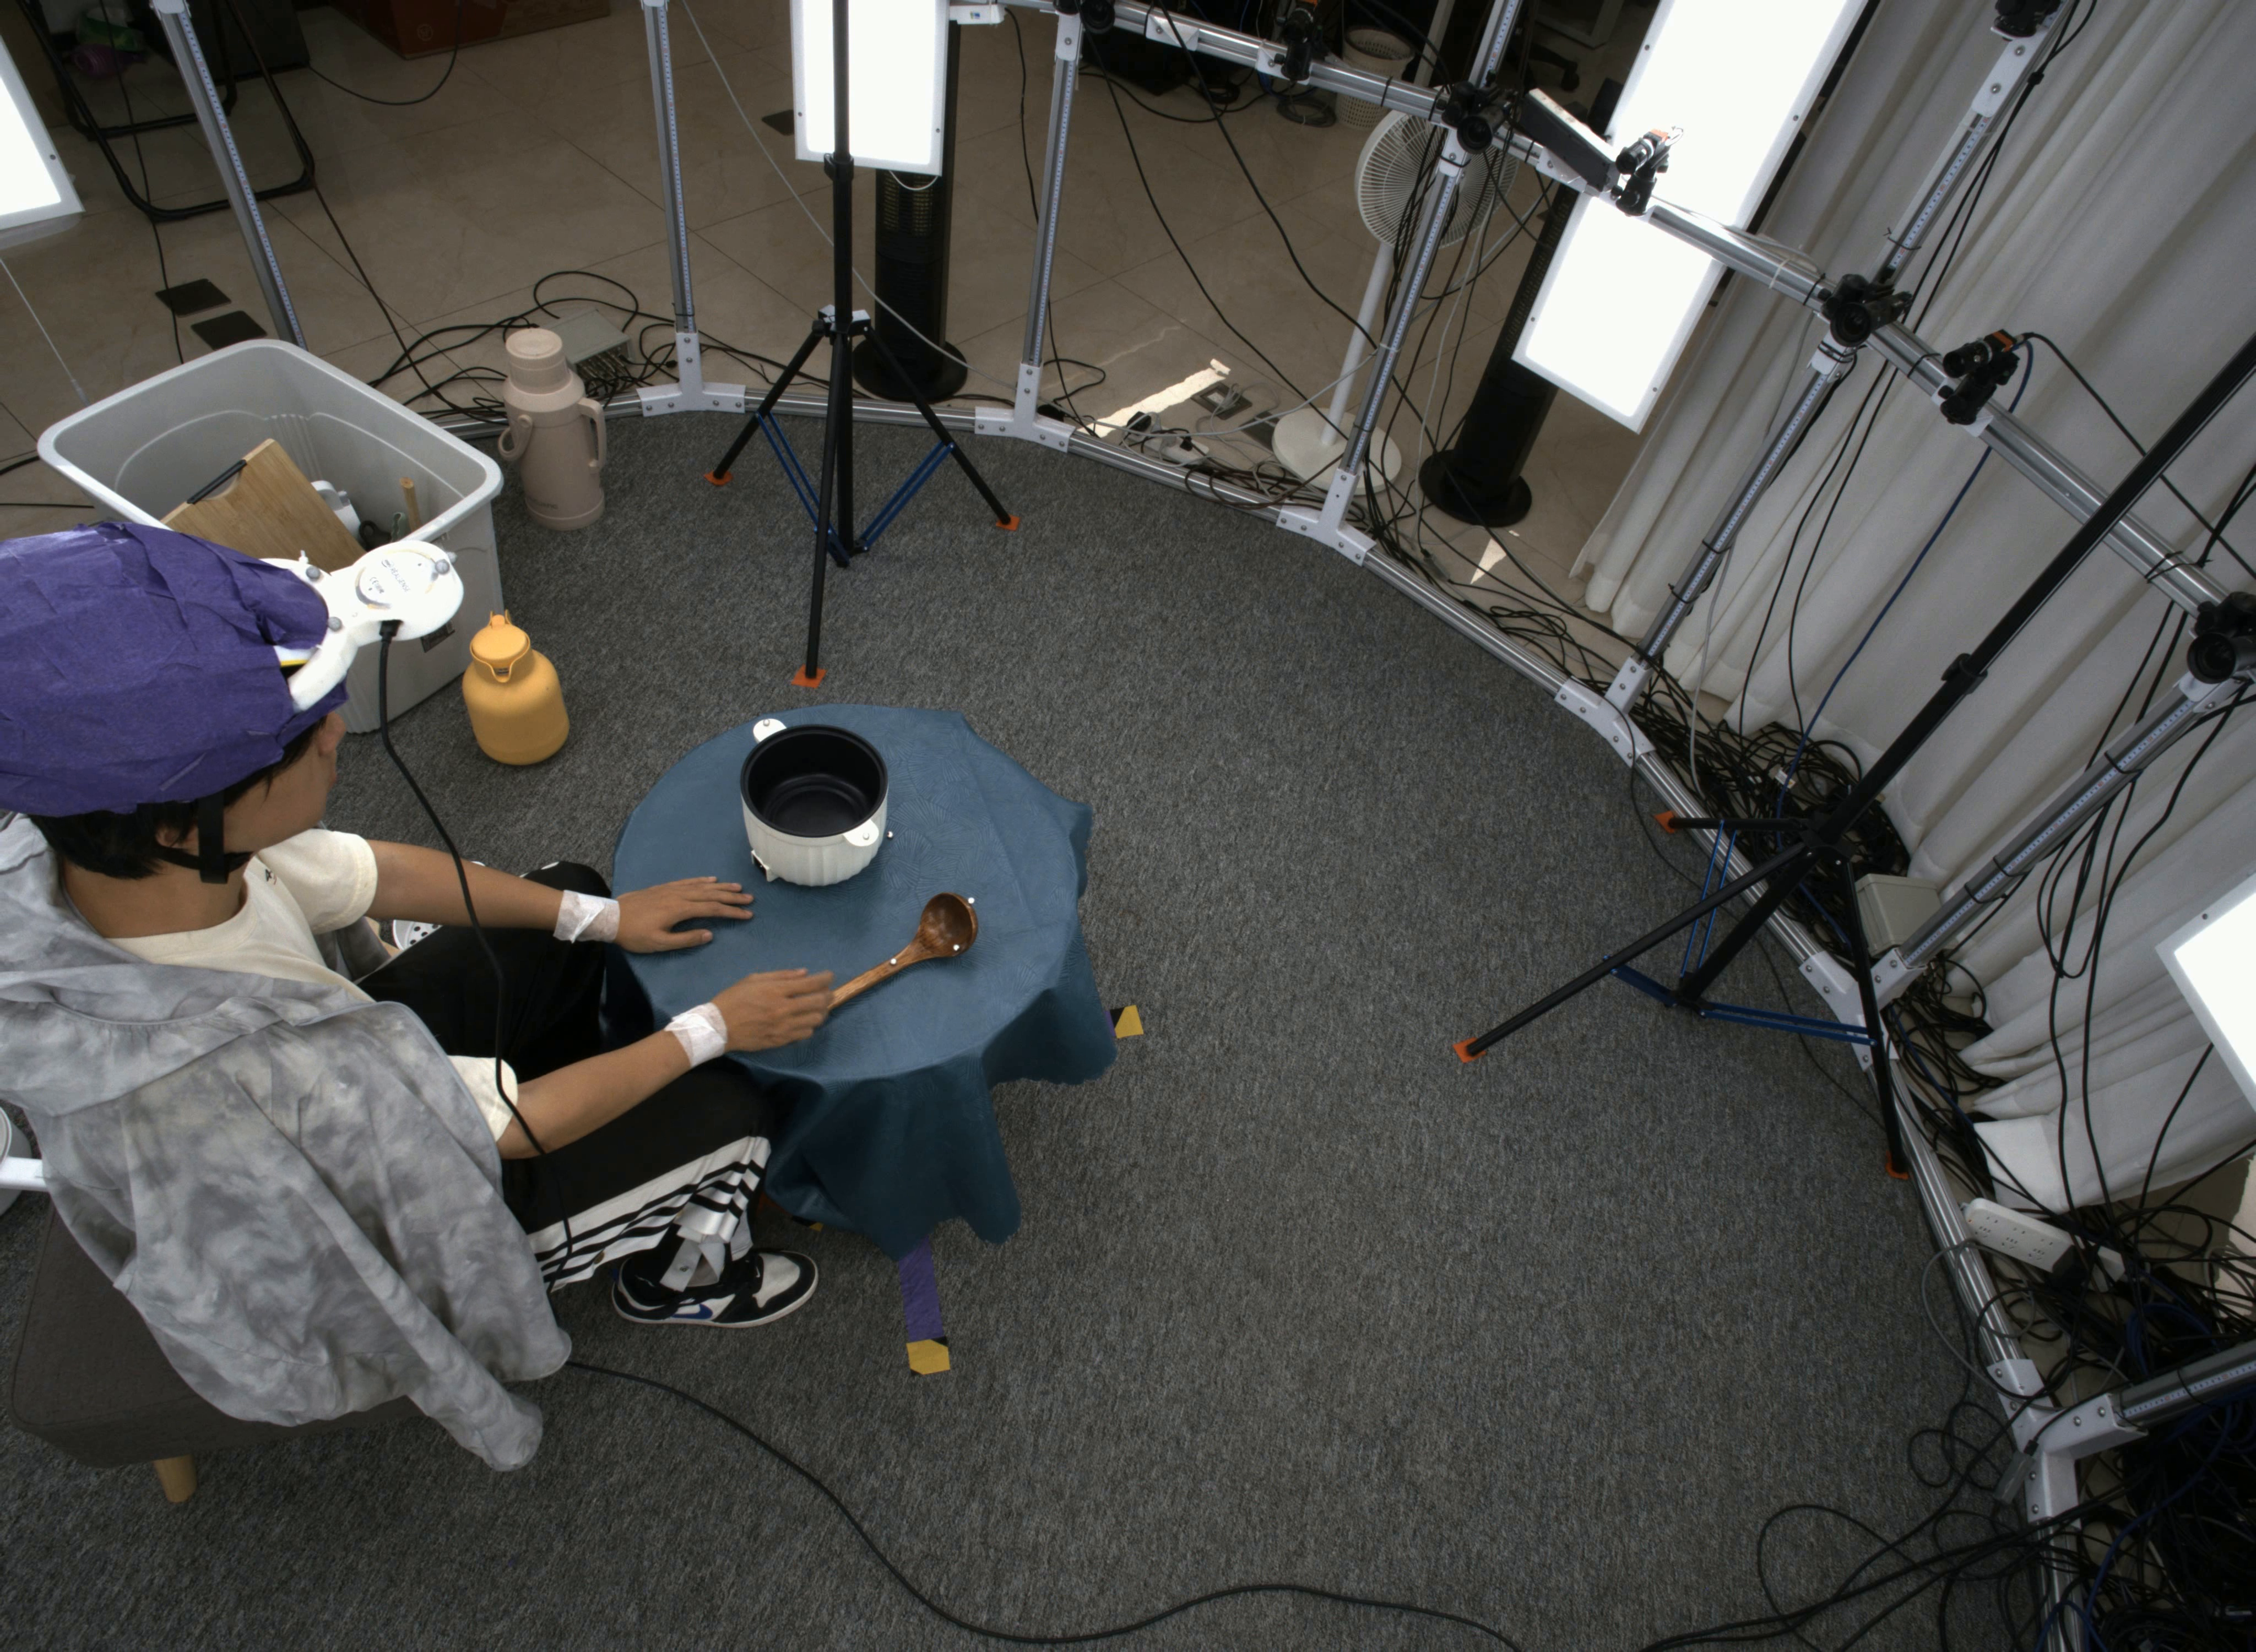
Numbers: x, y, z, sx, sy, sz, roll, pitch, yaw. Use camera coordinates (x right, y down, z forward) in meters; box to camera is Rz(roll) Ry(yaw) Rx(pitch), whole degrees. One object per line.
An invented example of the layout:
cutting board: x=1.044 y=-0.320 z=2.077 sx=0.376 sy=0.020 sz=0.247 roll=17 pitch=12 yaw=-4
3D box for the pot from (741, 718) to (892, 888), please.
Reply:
pot: x=-0.390 y=-0.023 z=1.662 sx=0.191 sy=0.145 sz=0.235 roll=-35 pitch=69 yaw=-28

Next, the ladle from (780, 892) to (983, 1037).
ladle: x=-0.298 y=0.168 z=1.583 sx=0.275 sy=0.078 sz=0.080 roll=-28 pitch=66 yaw=-30
